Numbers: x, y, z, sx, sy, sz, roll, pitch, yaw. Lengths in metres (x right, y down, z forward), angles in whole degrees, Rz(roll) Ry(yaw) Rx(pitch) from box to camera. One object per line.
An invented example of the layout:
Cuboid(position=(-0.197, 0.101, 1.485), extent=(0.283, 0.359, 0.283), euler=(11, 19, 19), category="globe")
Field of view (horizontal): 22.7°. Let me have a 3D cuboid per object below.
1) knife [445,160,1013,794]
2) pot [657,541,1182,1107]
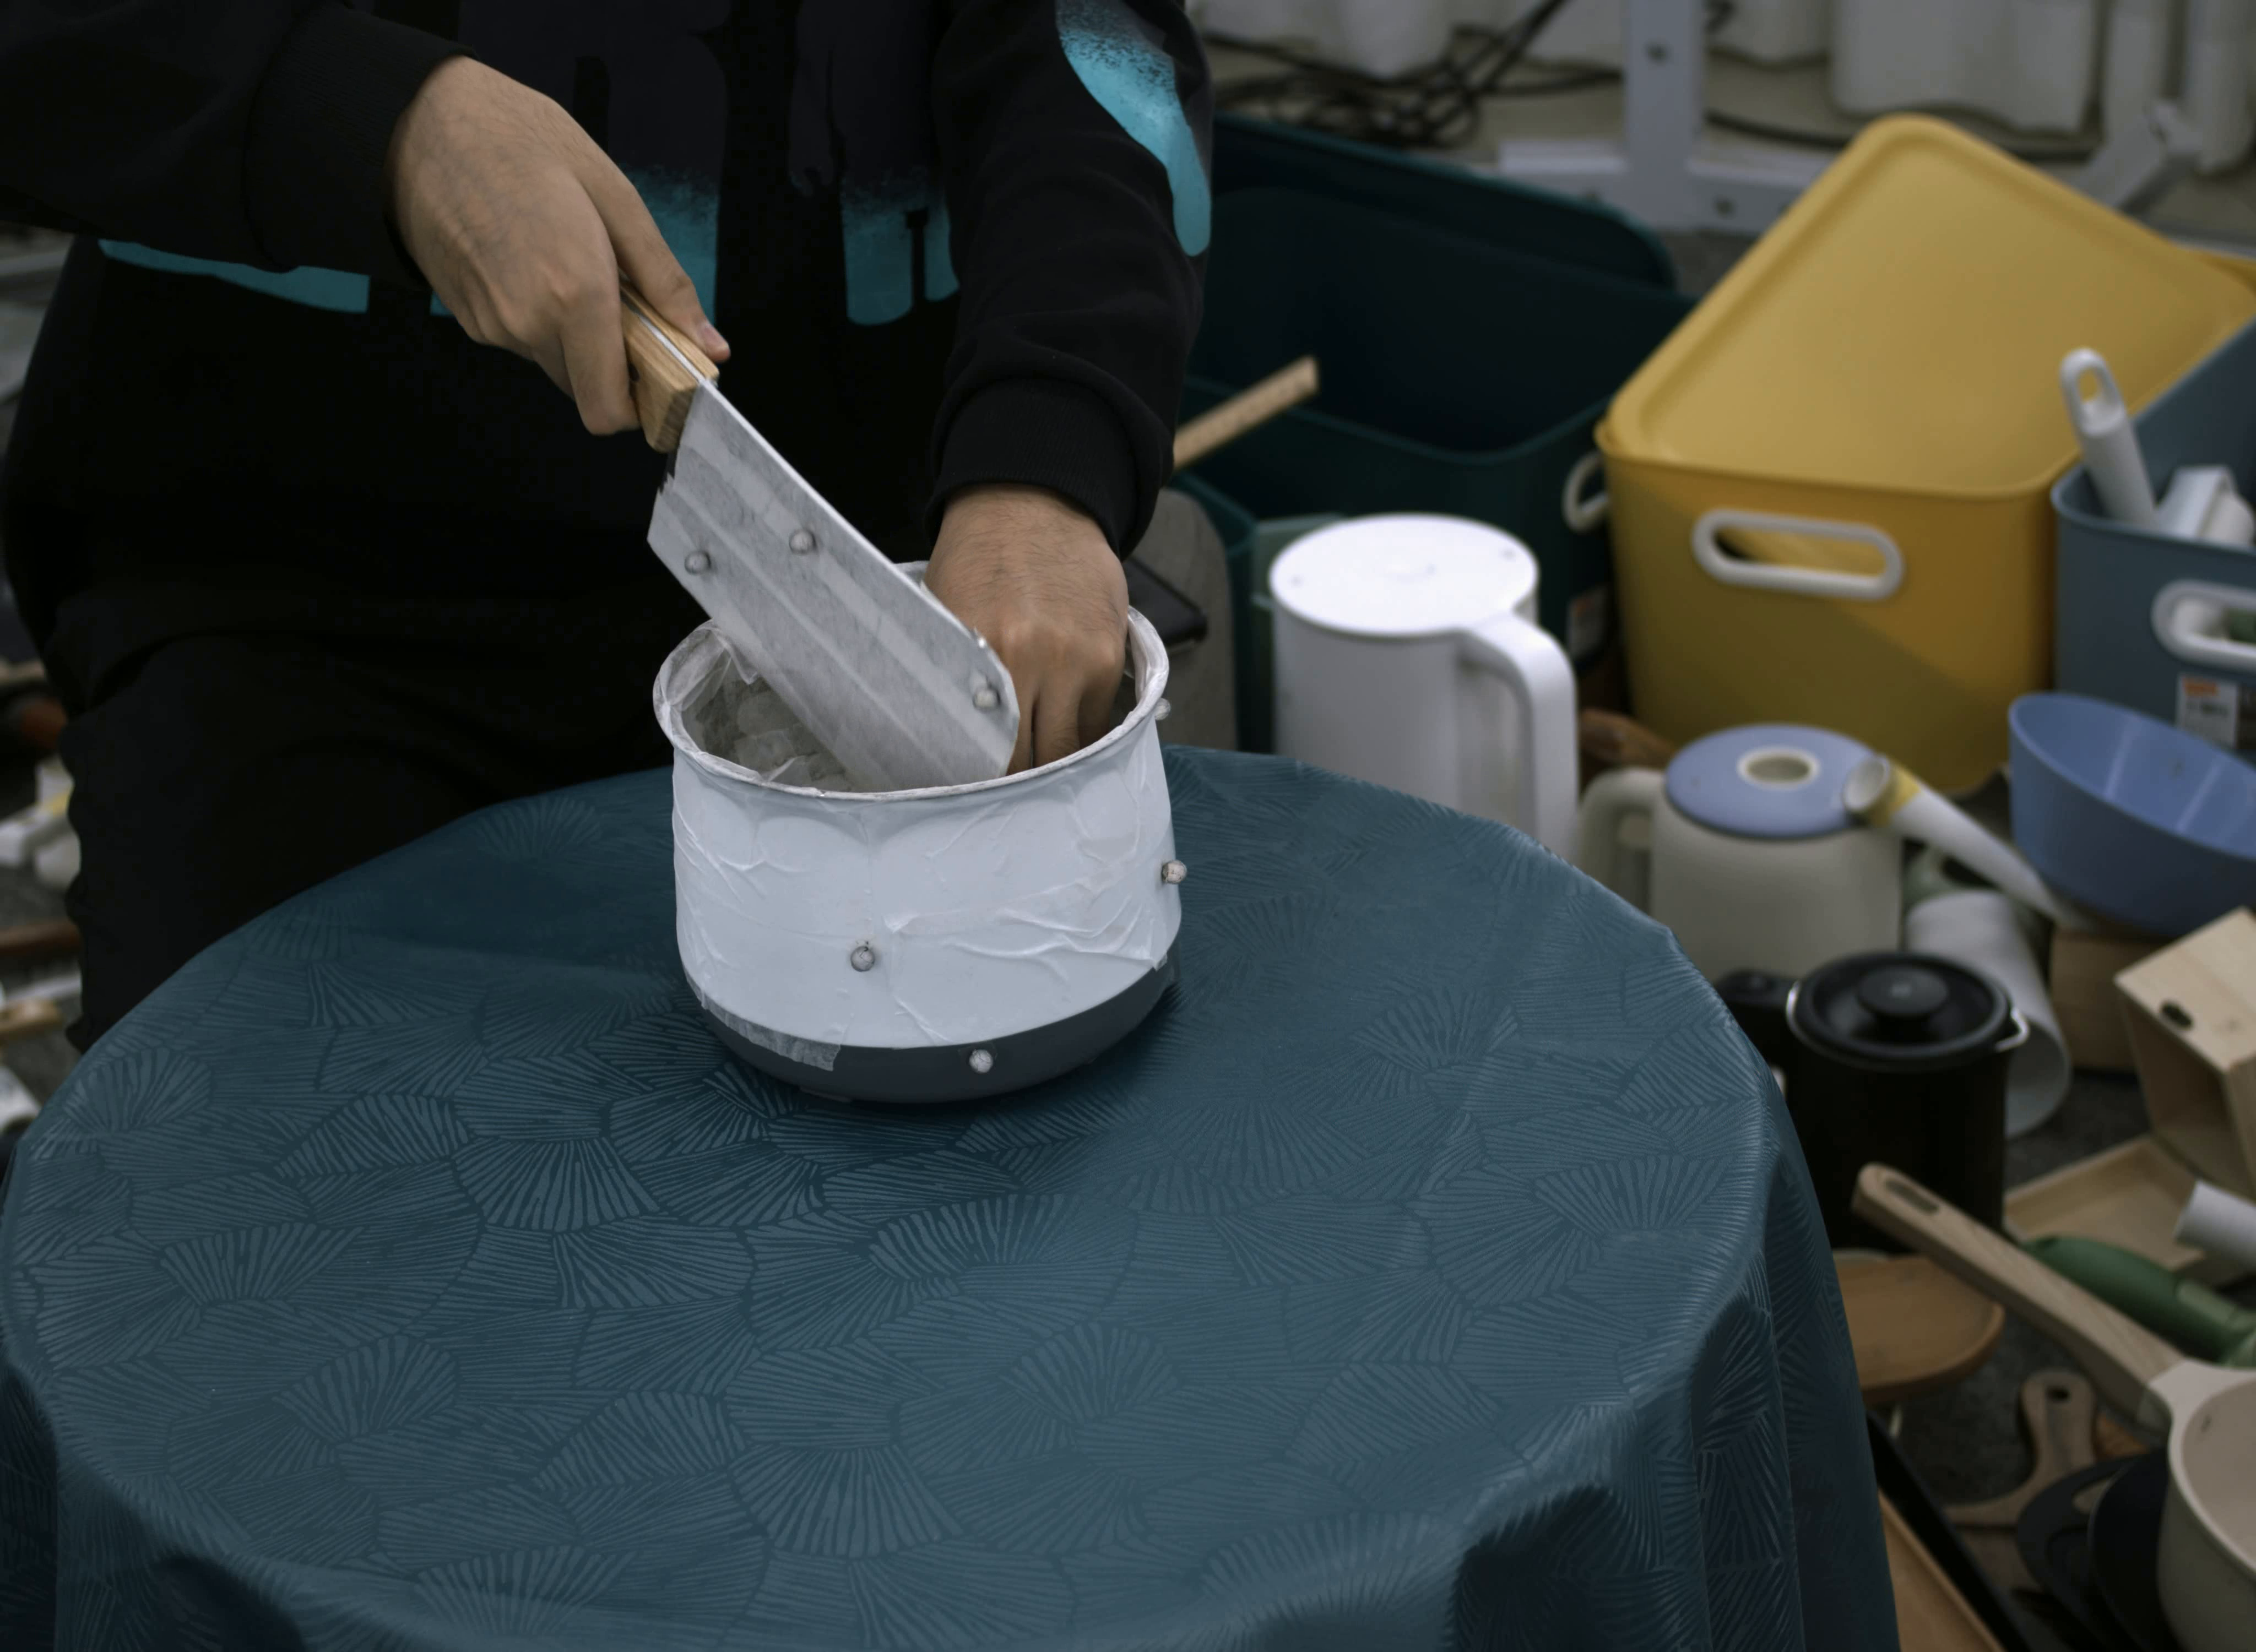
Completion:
Cuboid(position=(-0.137, -0.116, 1.927), extent=(0.022, 0.112, 0.317), euler=(-24, 62, -36), category="knife")
Cuboid(position=(-0.077, -0.008, 1.971), extent=(0.178, 0.135, 0.236), euler=(-8, 29, -12), category="pot")
